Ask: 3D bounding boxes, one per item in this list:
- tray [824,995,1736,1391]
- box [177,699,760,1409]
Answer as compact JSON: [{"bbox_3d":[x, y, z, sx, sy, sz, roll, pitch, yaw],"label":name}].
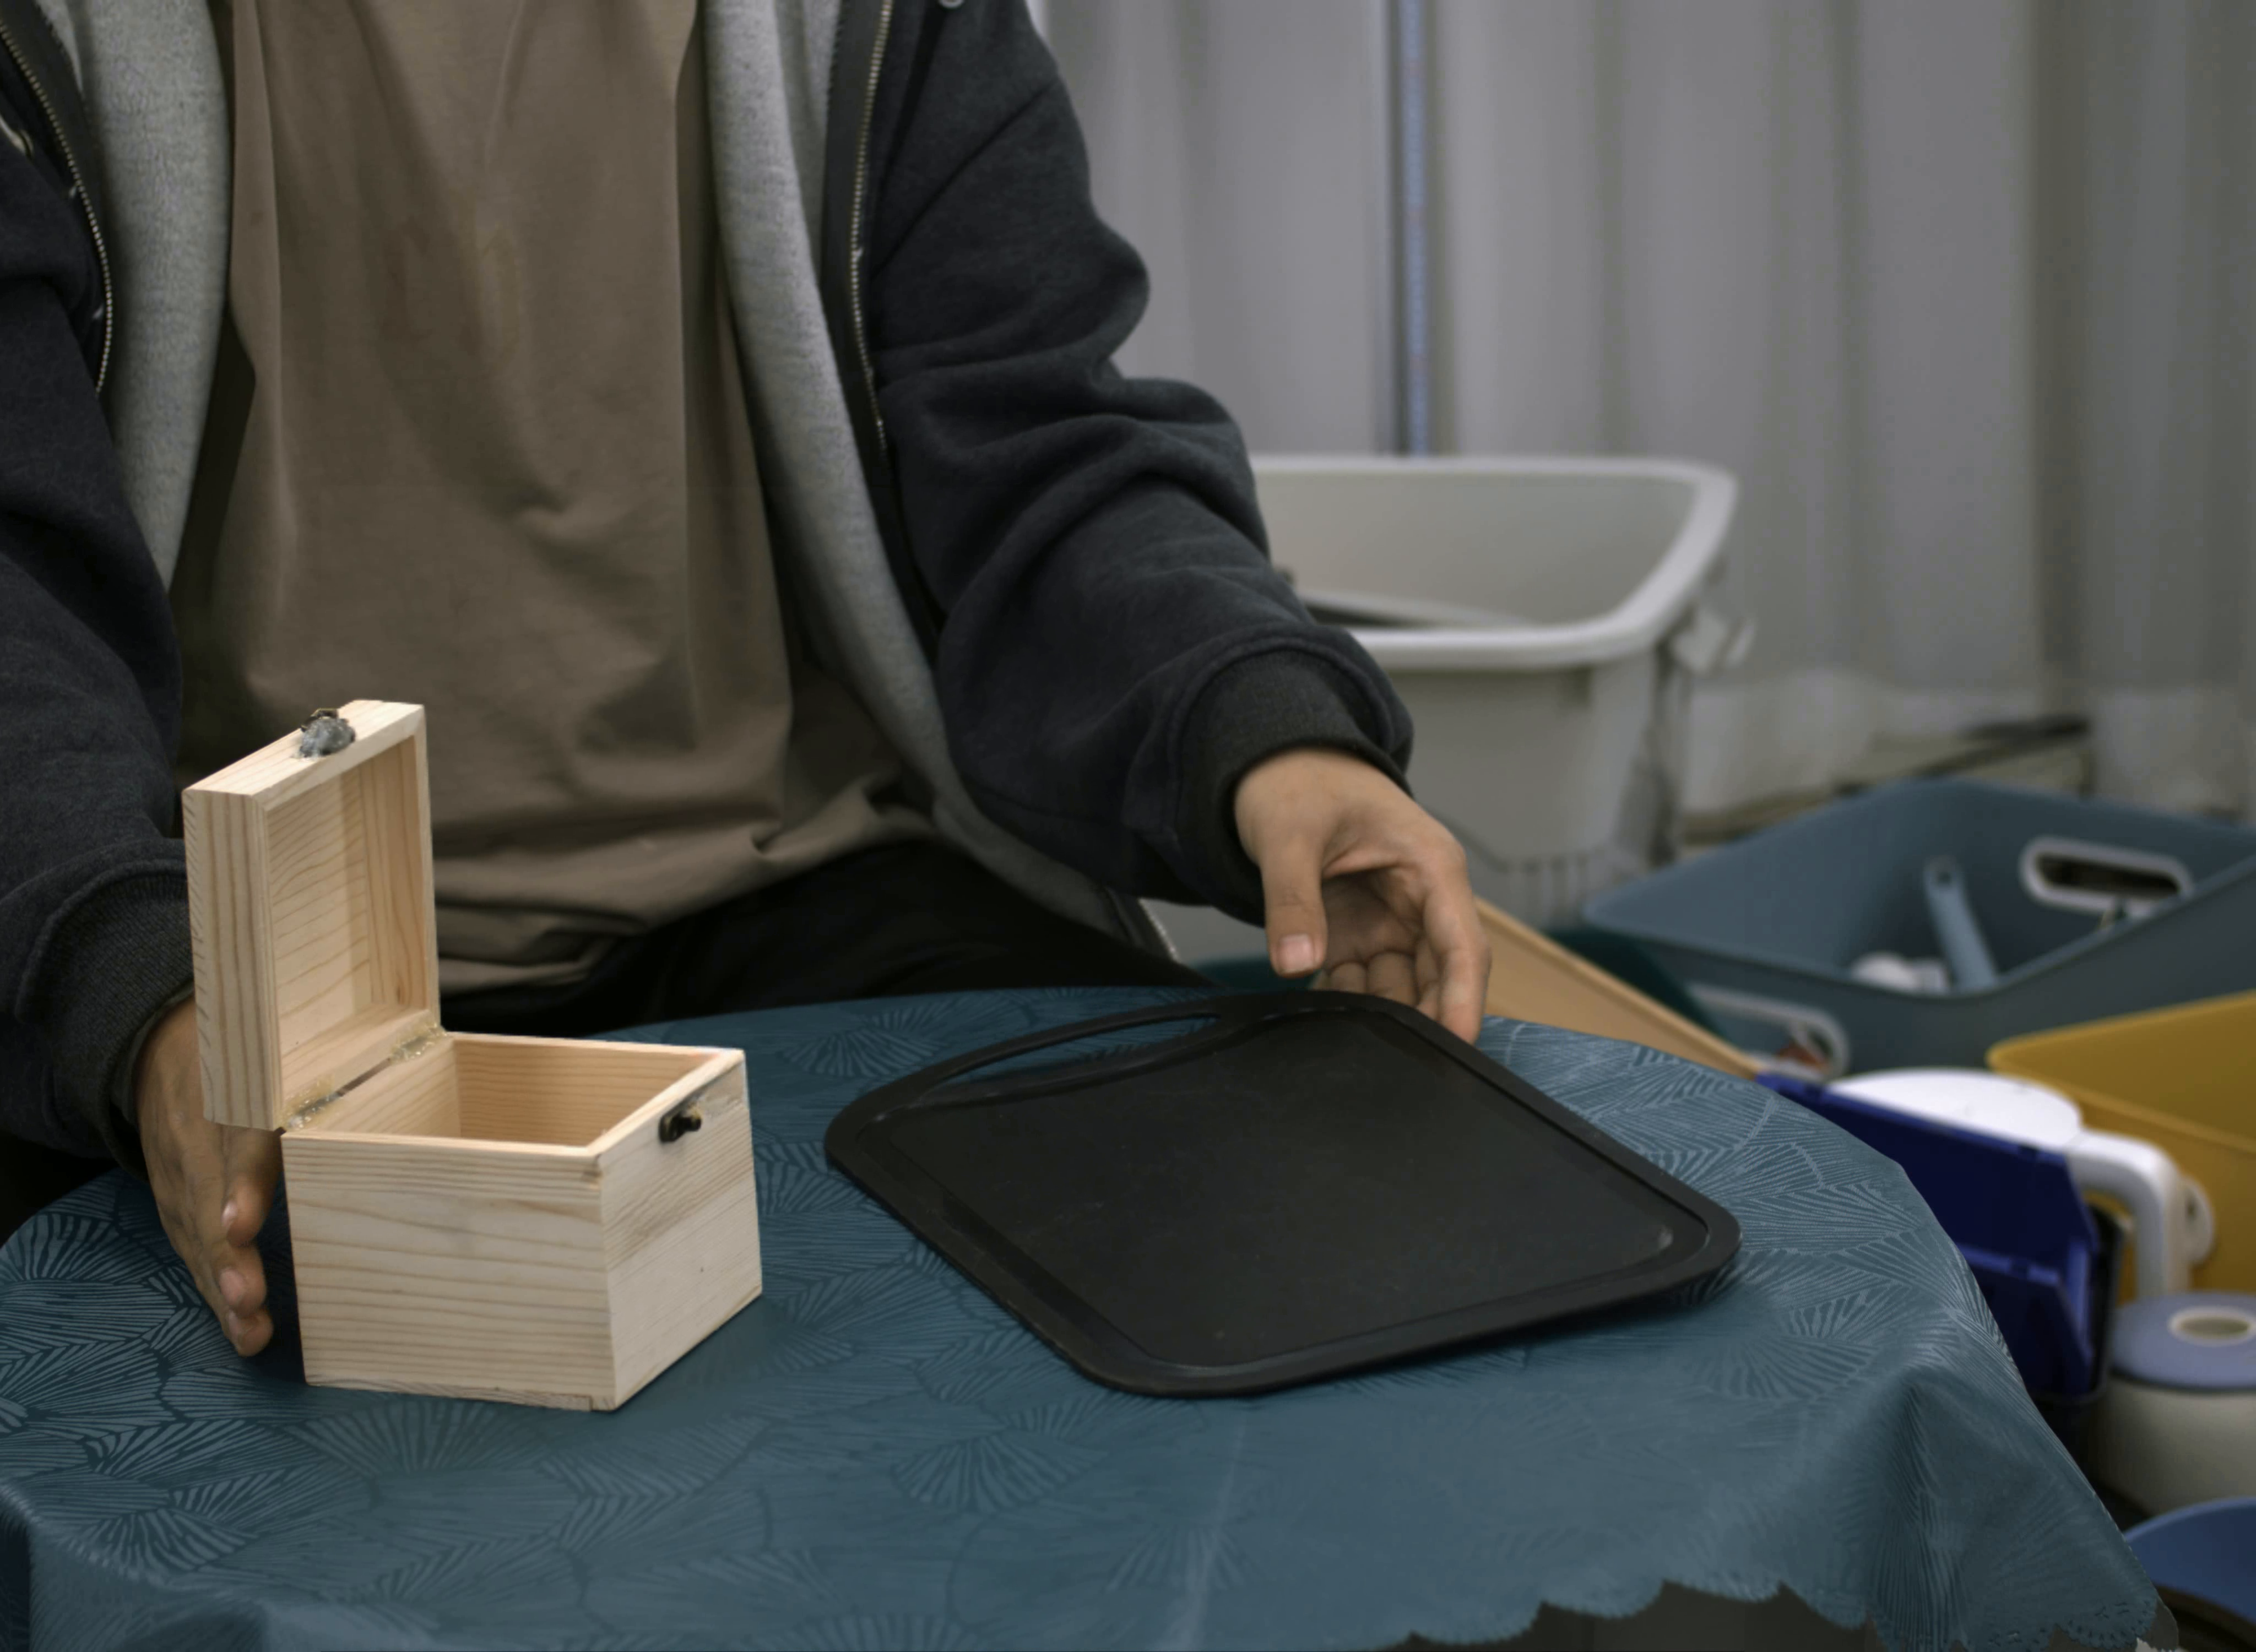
[{"bbox_3d":[0.036,0.106,1.702,0.210,0.010,0.328,-12,18,-19],"label":"tray"},{"bbox_3d":[-0.188,0.063,1.593,0.134,0.184,0.103,1,14,21],"label":"box"}]
